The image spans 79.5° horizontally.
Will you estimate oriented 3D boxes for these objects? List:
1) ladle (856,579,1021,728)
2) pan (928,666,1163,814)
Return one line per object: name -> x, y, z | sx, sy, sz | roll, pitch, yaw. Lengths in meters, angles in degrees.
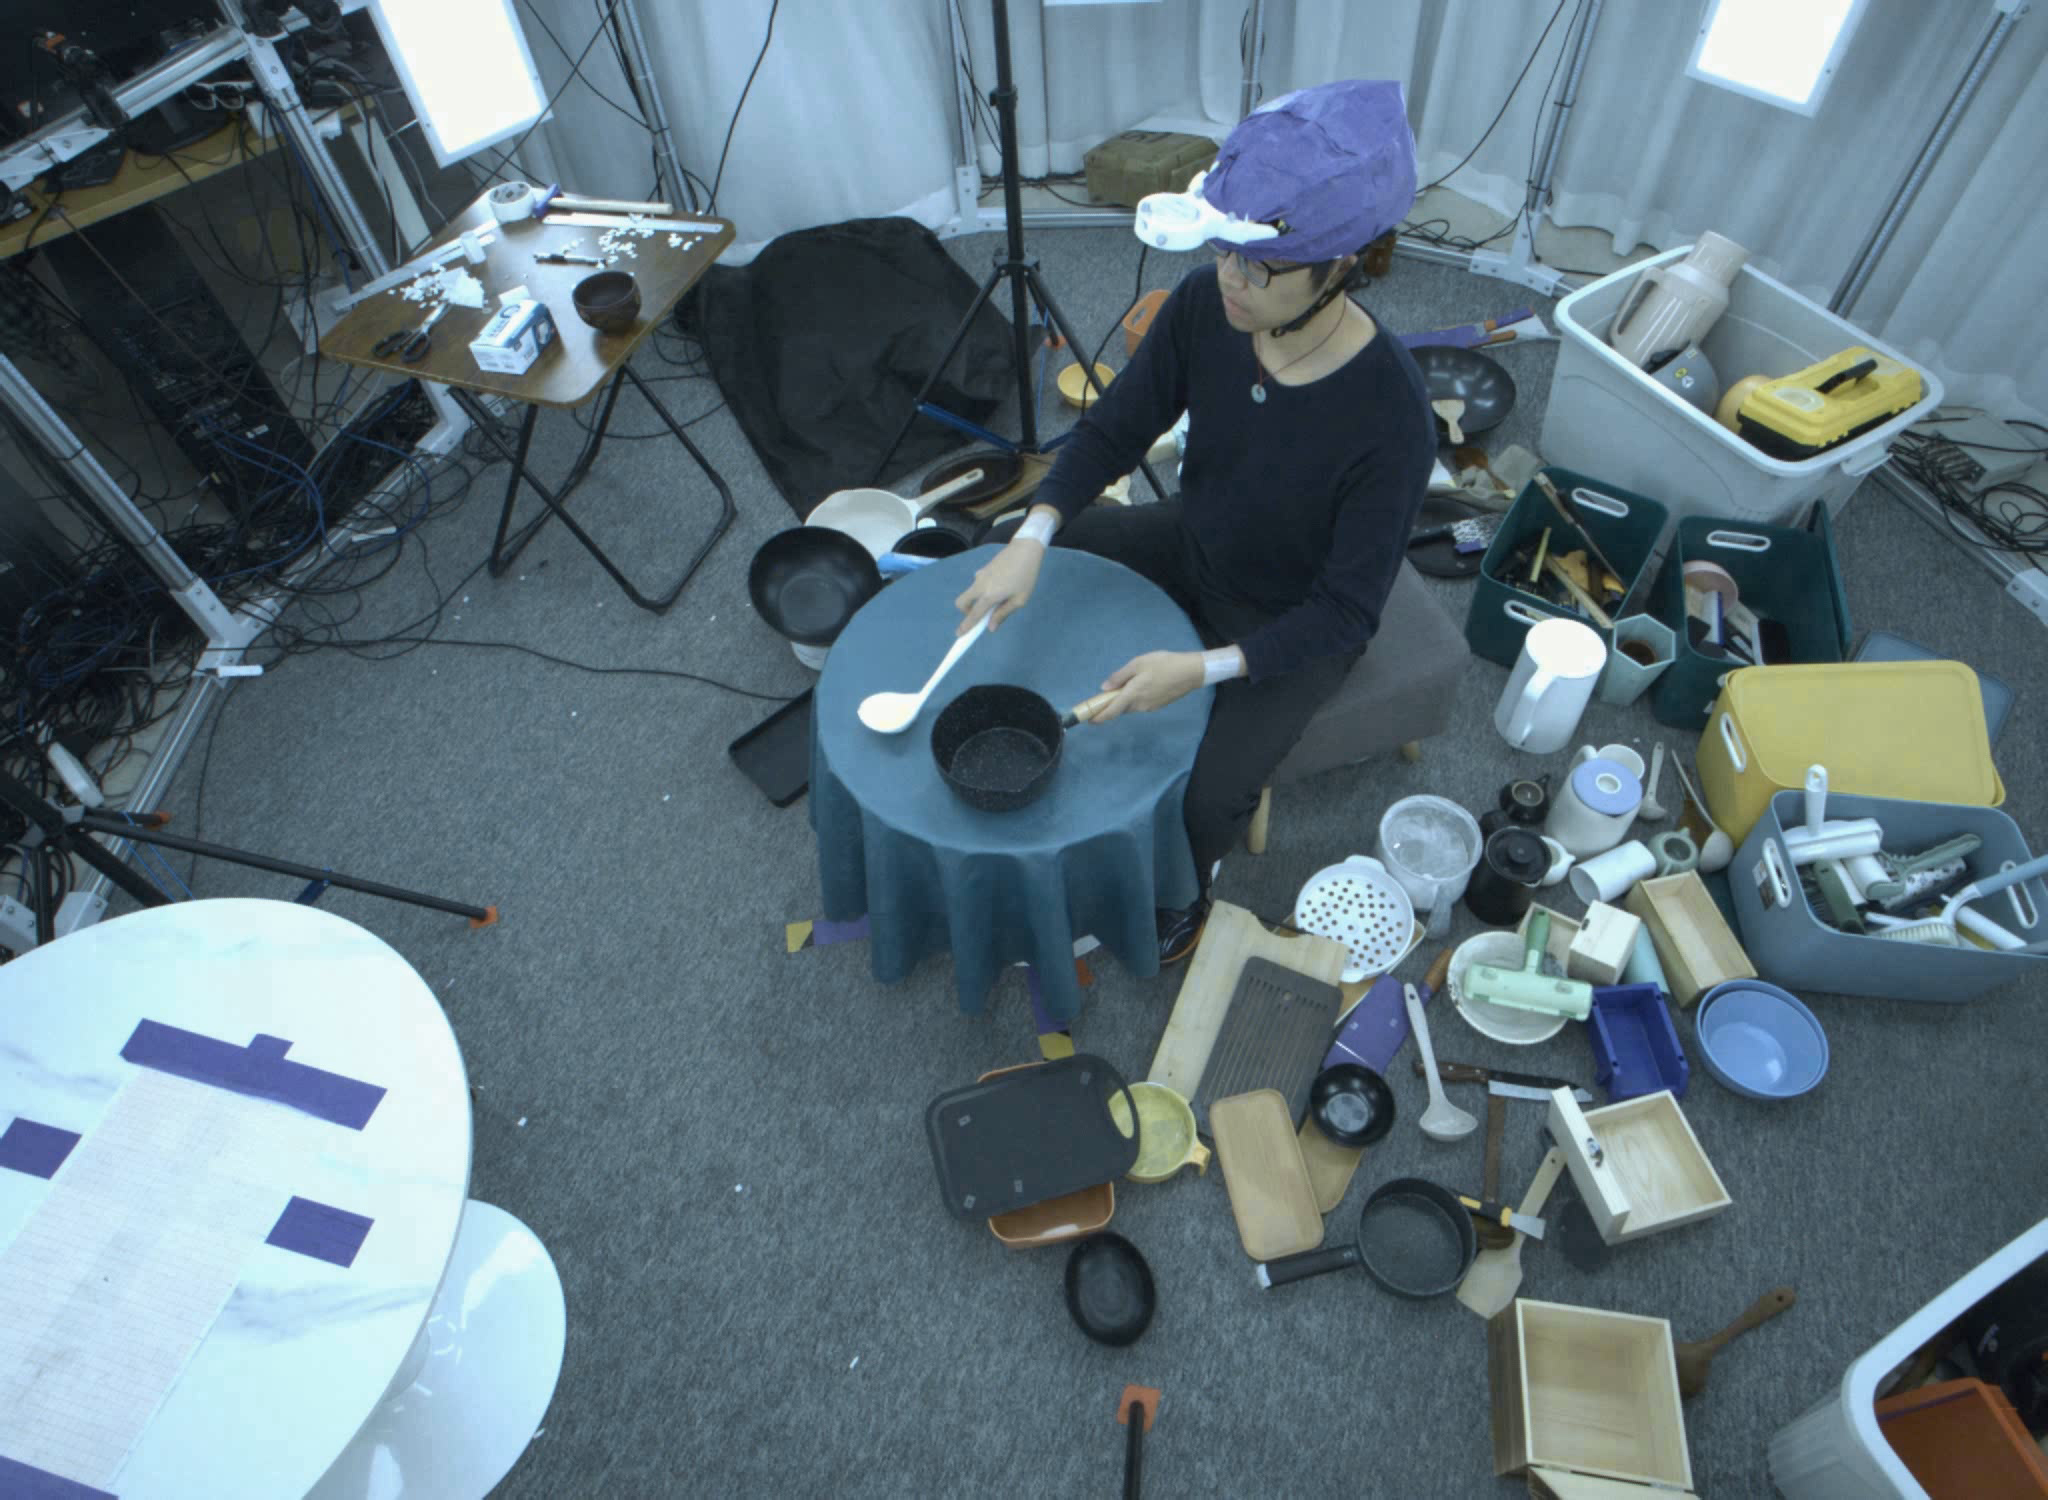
ladle -> -0.126, -0.143, 1.794 | 0.292, 0.071, 0.088 | -47, 41, 7
pan -> 0.036, -0.029, 1.738 | 0.344, 0.109, 0.204 | -20, 55, -9
